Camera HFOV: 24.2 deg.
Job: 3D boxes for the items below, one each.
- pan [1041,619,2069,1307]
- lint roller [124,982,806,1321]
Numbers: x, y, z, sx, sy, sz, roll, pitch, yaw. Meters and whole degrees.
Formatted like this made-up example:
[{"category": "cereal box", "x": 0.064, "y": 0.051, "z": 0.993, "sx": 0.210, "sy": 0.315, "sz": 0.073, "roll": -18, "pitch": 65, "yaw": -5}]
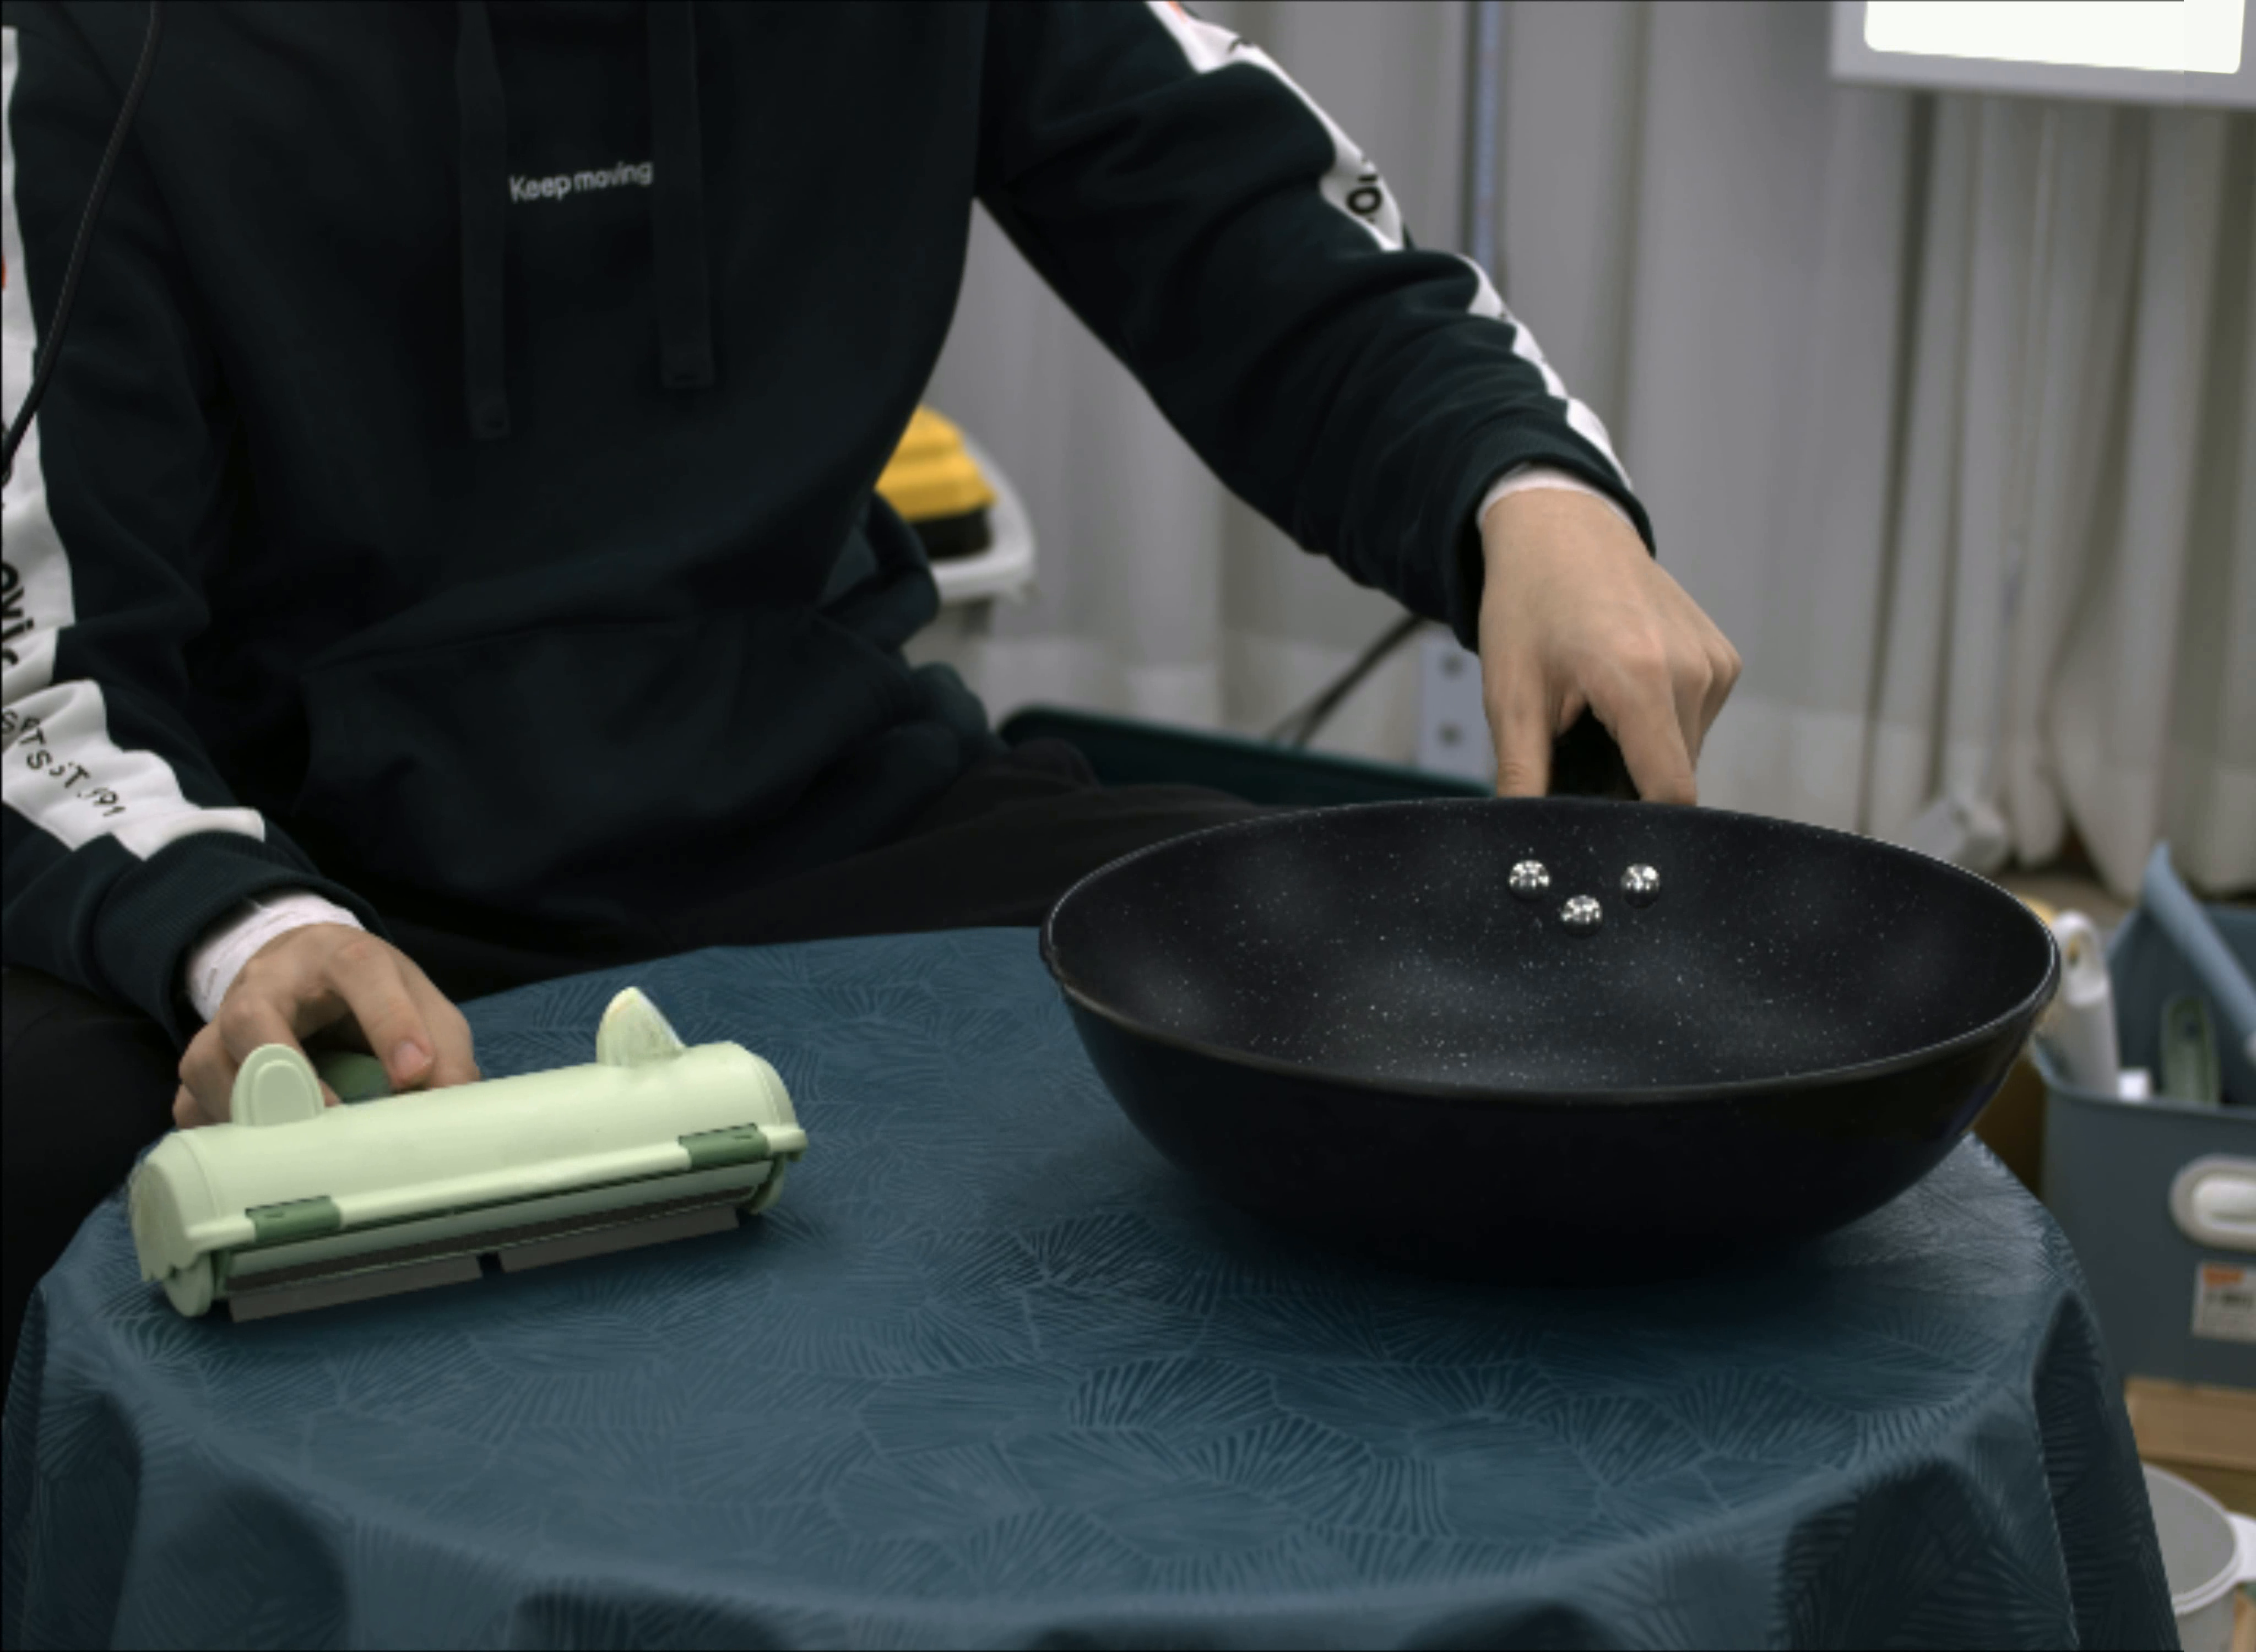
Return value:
[{"category": "pan", "x": 0.140, "y": 0.043, "z": 1.676, "sx": 0.308, "sy": 0.112, "sz": 0.475, "roll": 4, "pitch": 17, "yaw": 8}, {"category": "lint roller", "x": -0.221, "y": 0.079, "z": 1.590, "sx": 0.199, "sy": 0.083, "sz": 0.181, "roll": -9, "pitch": 23, "yaw": -28}]
